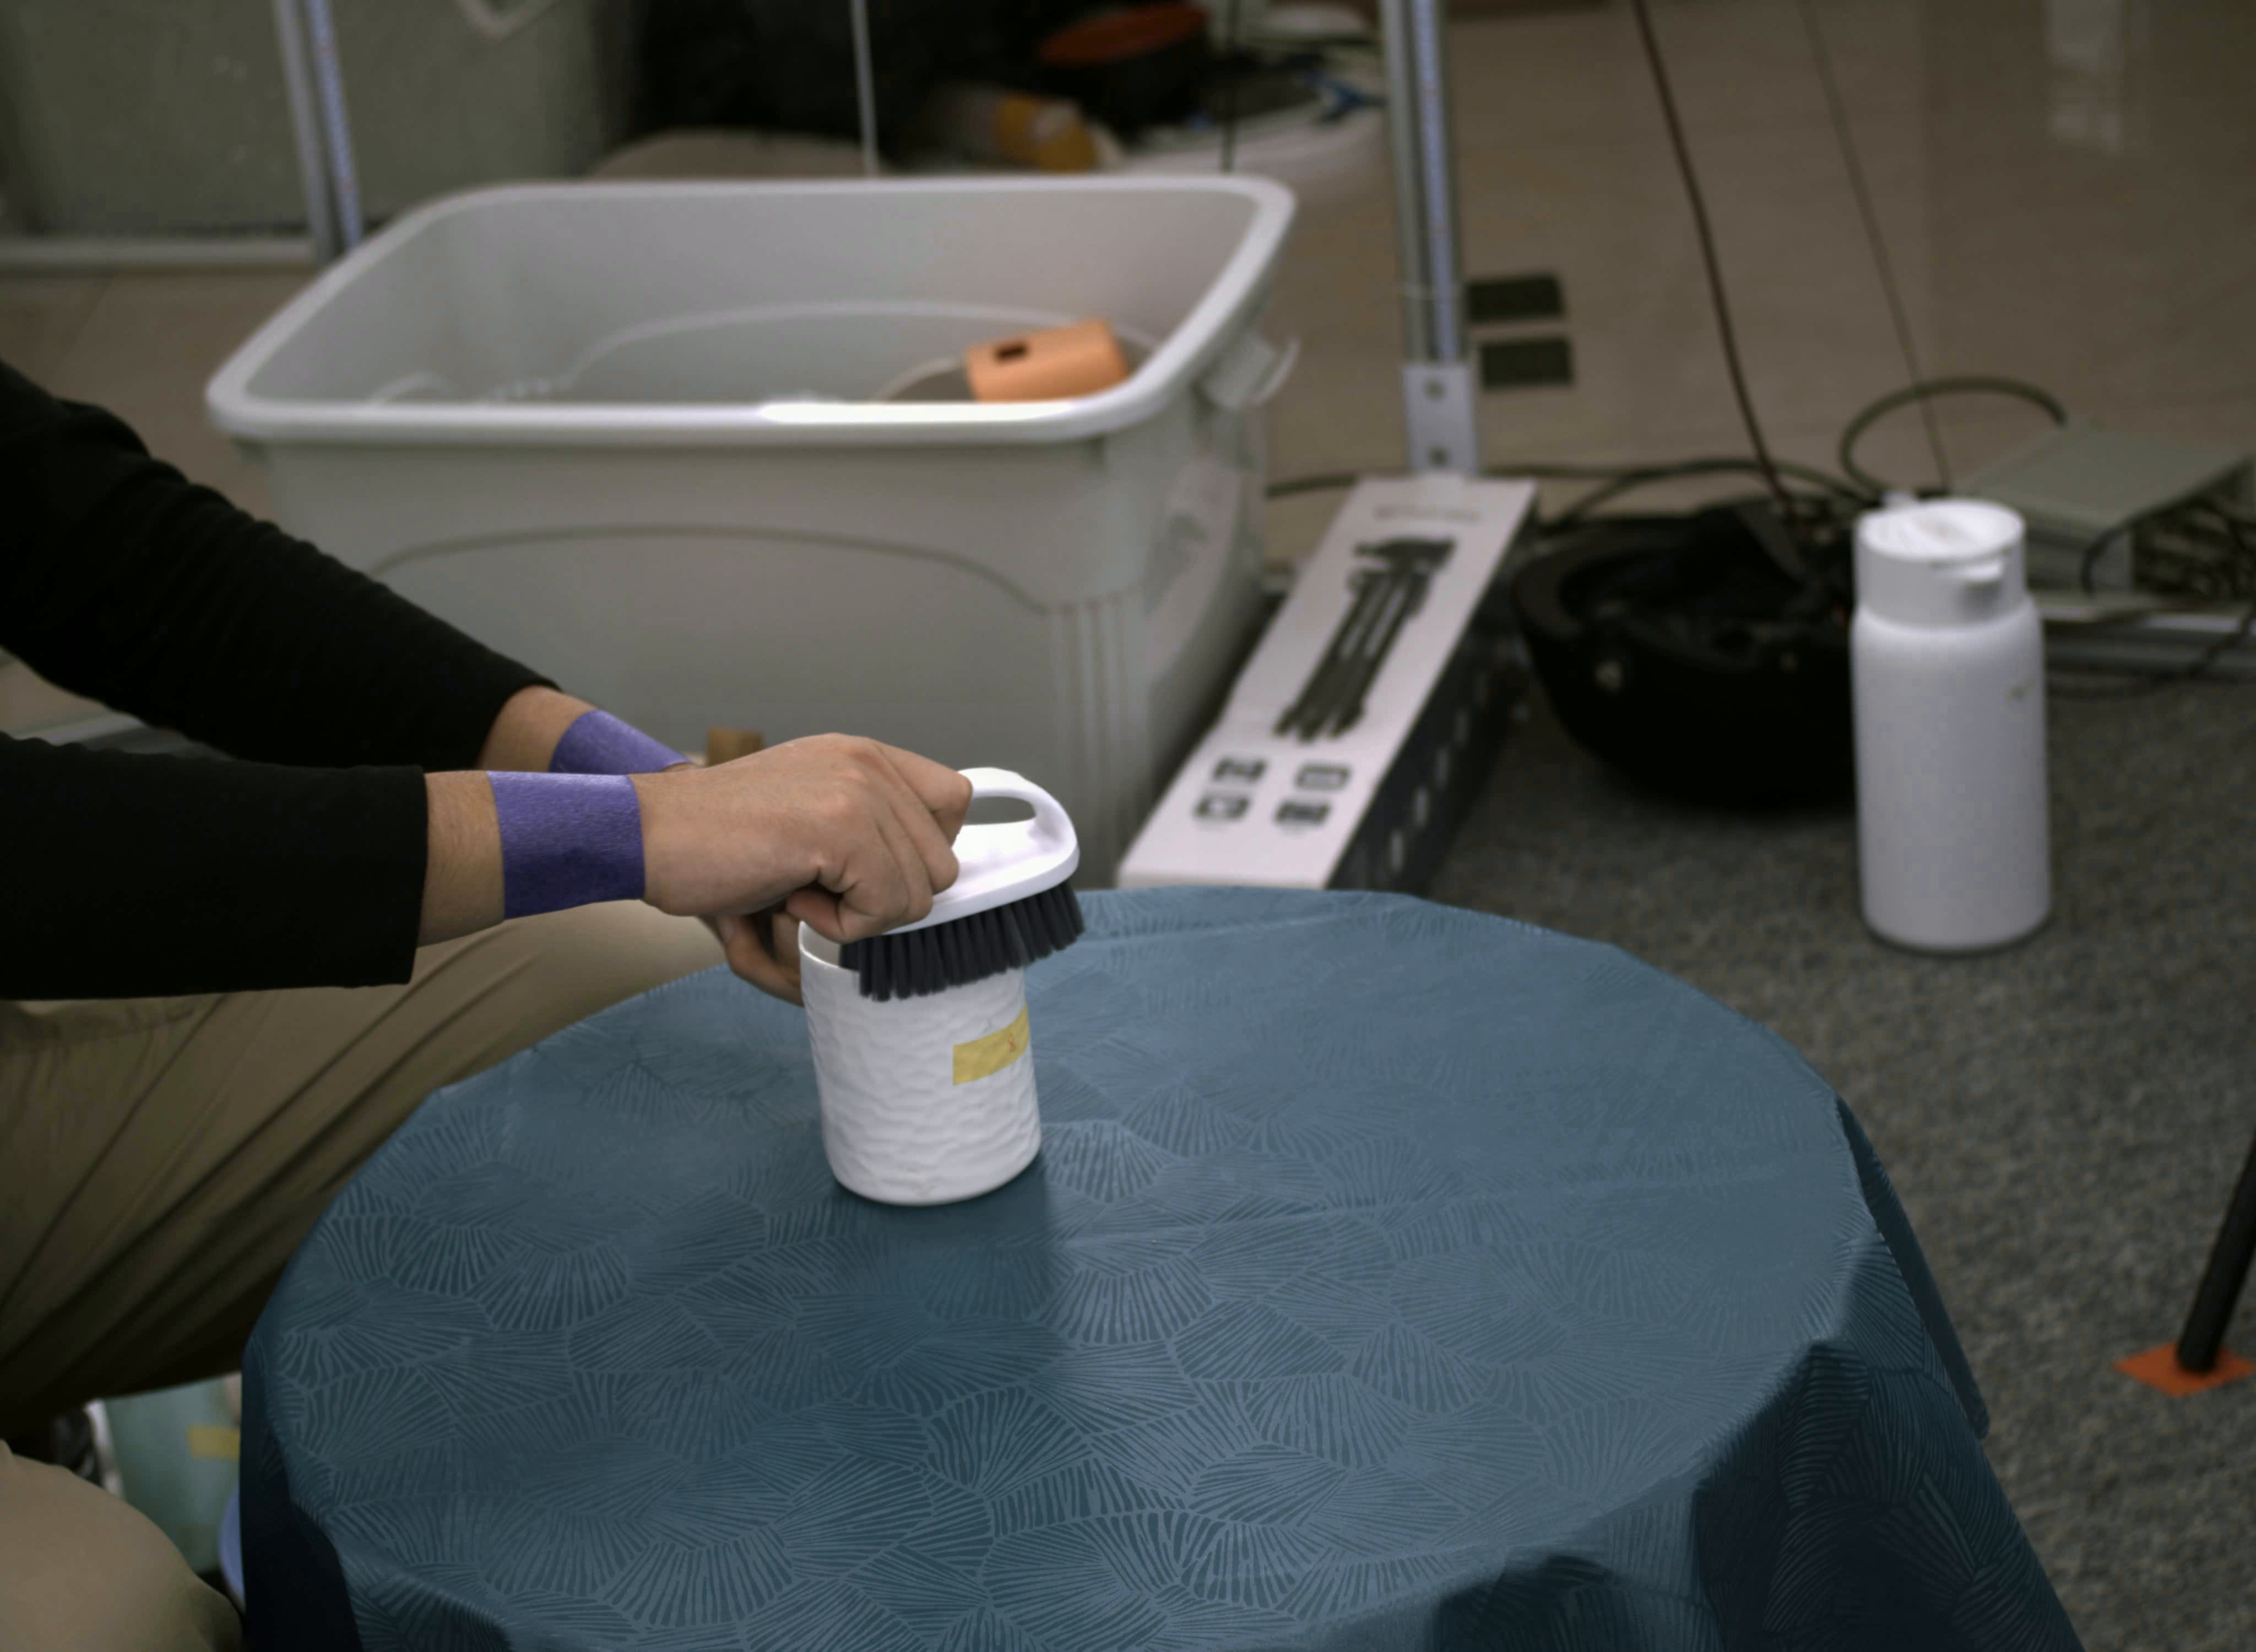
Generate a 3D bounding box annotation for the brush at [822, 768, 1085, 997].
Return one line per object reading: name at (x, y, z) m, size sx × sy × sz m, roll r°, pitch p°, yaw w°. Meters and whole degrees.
brush at (-0.066, 0.015, 2.106) m, size 0.099 × 0.074 × 0.049 m, roll -15°, pitch 30°, yaw -18°

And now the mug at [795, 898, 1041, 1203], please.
mug at (-0.088, 0.077, 2.178) m, size 0.084 × 0.103 × 0.117 m, roll -19°, pitch 27°, yaw -27°
